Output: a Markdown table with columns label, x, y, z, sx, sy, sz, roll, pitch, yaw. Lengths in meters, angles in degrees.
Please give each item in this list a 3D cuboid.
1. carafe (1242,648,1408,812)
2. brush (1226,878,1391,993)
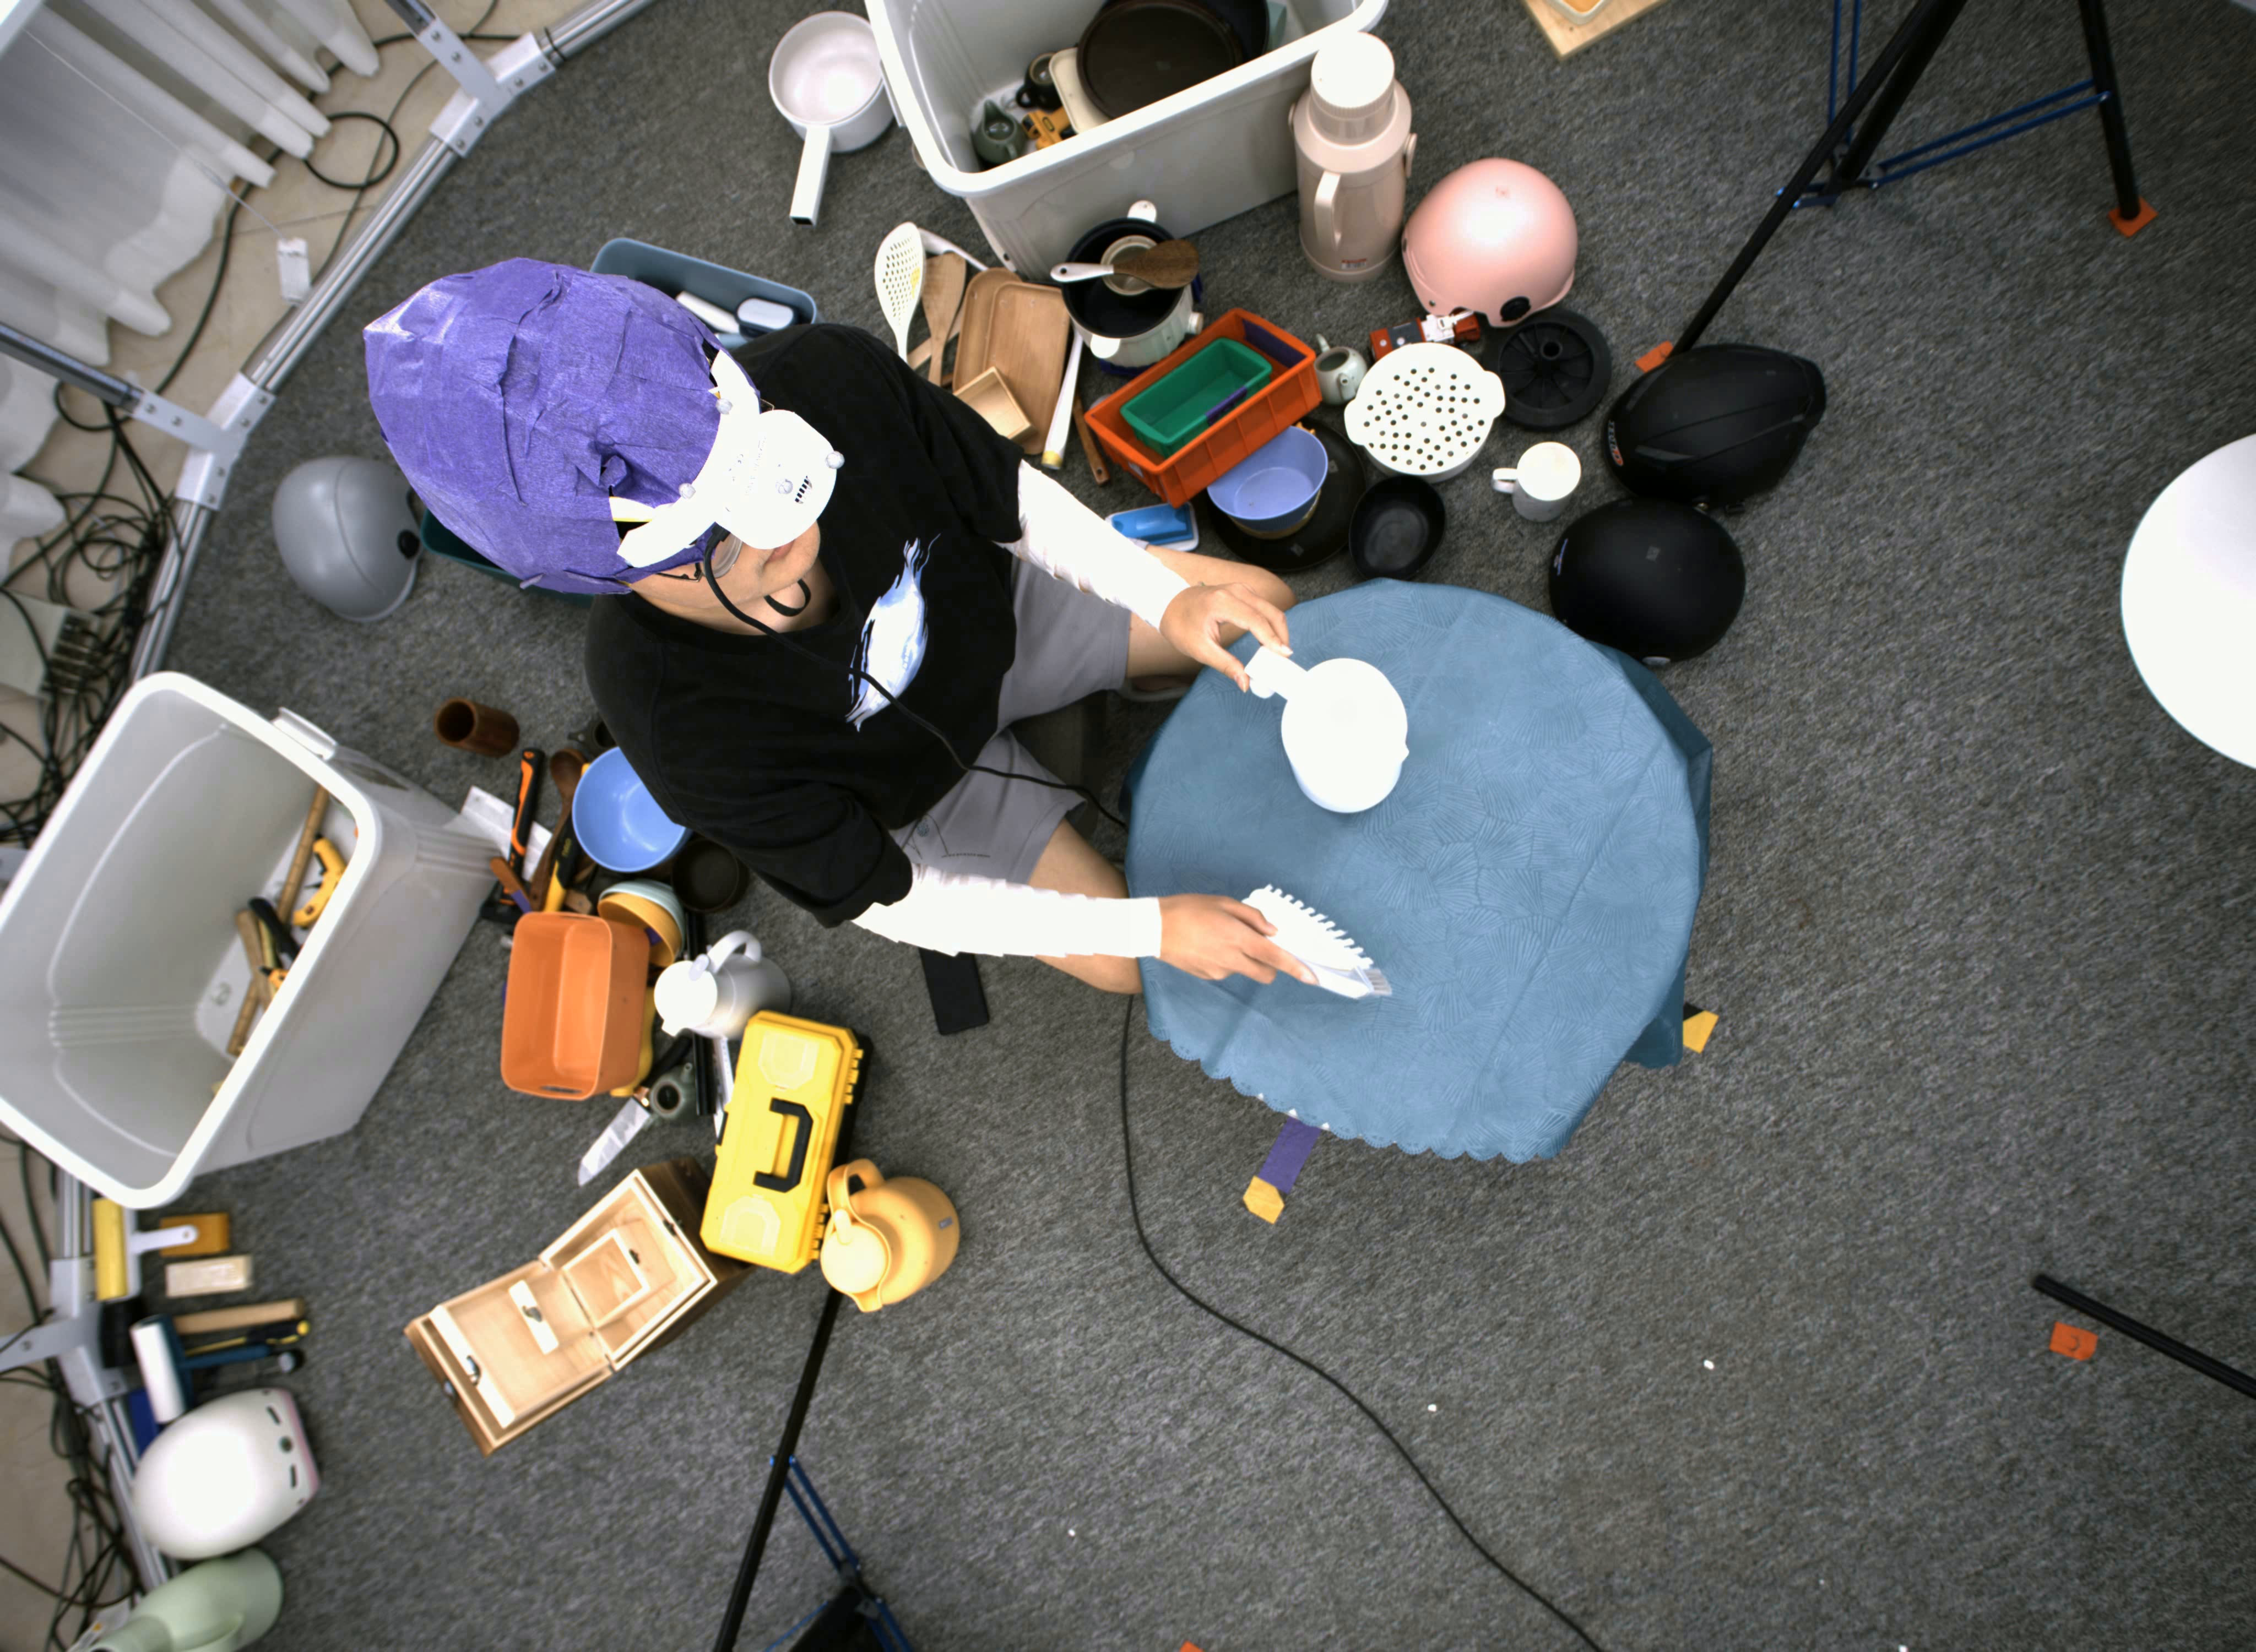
| label | x | y | z | sx | sy | sz | roll | pitch | yaw |
| --- | --- | --- | --- | --- | --- | --- | --- | --- | --- |
| carafe | 0.196 | -0.095 | 1.346 | 0.172 | 0.269 | 0.124 | 34 | 93 | 12 |
| brush | 0.174 | 0.120 | 1.396 | 0.174 | 0.093 | 0.063 | 33 | 120 | 29 |
